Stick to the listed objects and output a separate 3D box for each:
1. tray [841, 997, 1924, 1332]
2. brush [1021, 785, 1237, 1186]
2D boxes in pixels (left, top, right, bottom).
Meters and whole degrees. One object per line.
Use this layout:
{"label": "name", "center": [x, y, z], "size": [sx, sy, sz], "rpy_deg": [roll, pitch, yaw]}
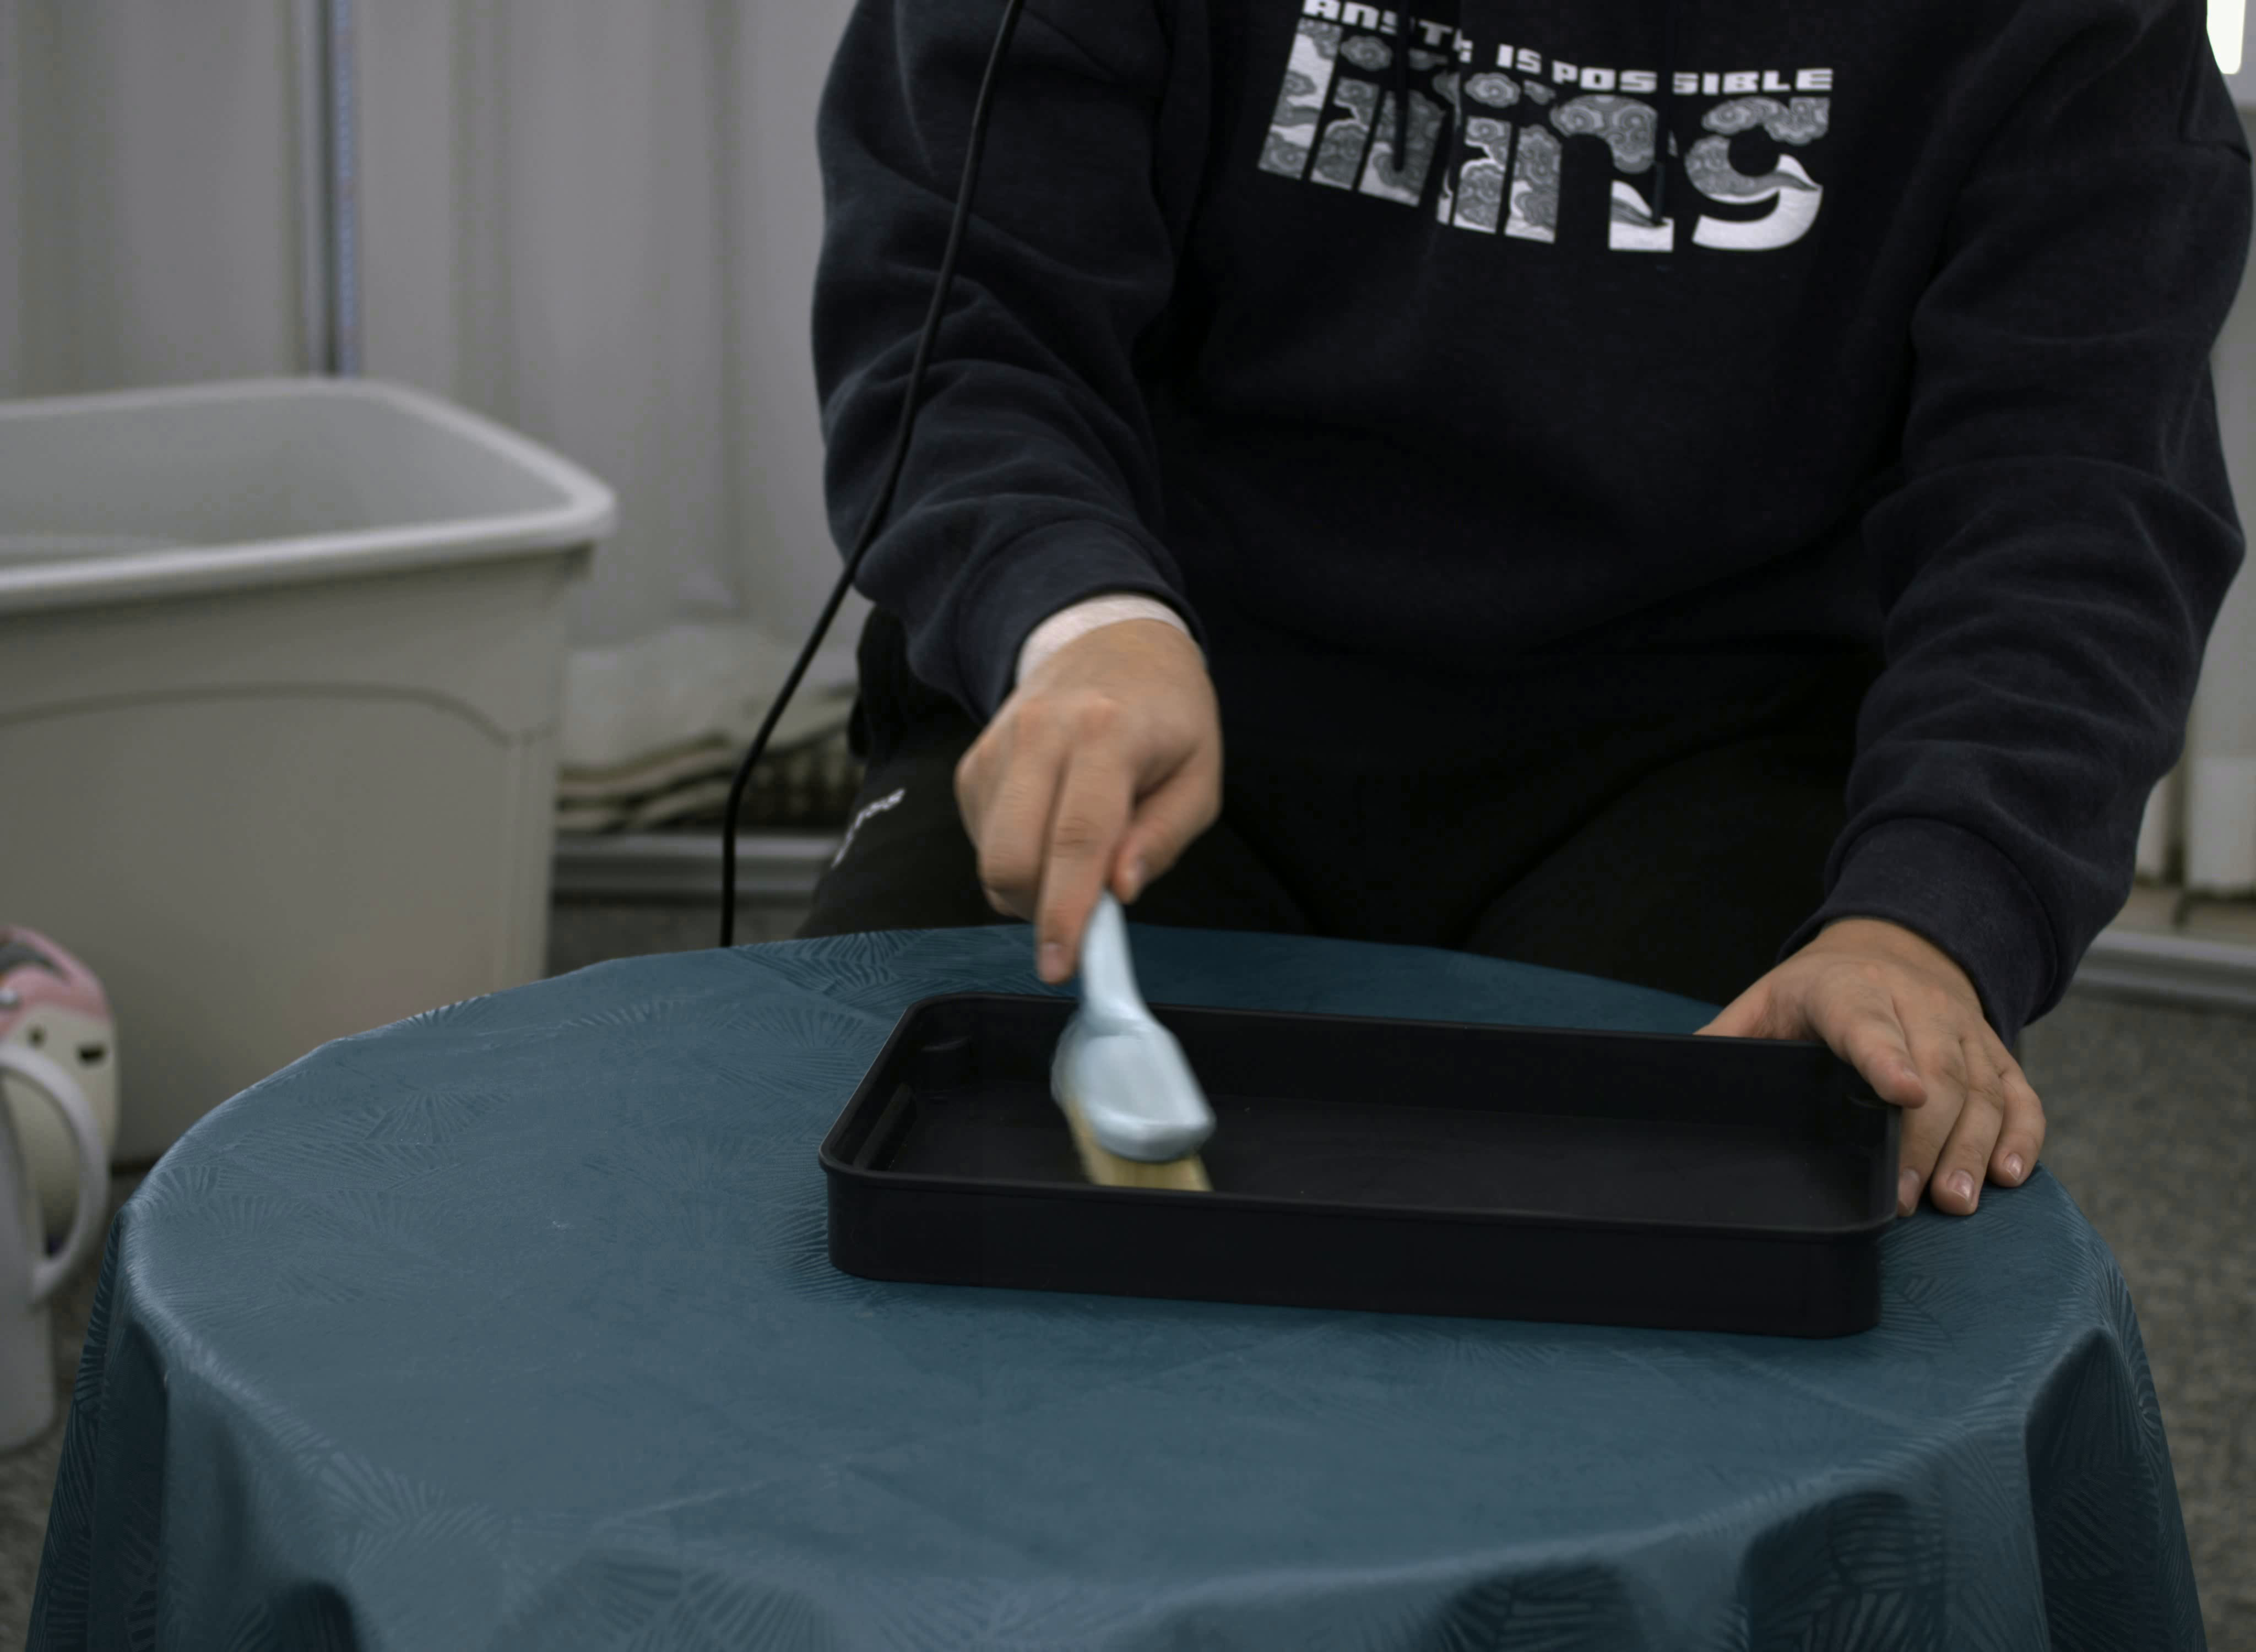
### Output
{"label": "tray", "center": [0.081, 0.101, 1.606], "size": [0.316, 0.037, 0.184], "rpy_deg": [2, 15, 6]}
{"label": "brush", "center": [-0.005, 0.051, 1.677], "size": [0.038, 0.050, 0.226], "rpy_deg": [-7, 33, -11]}
